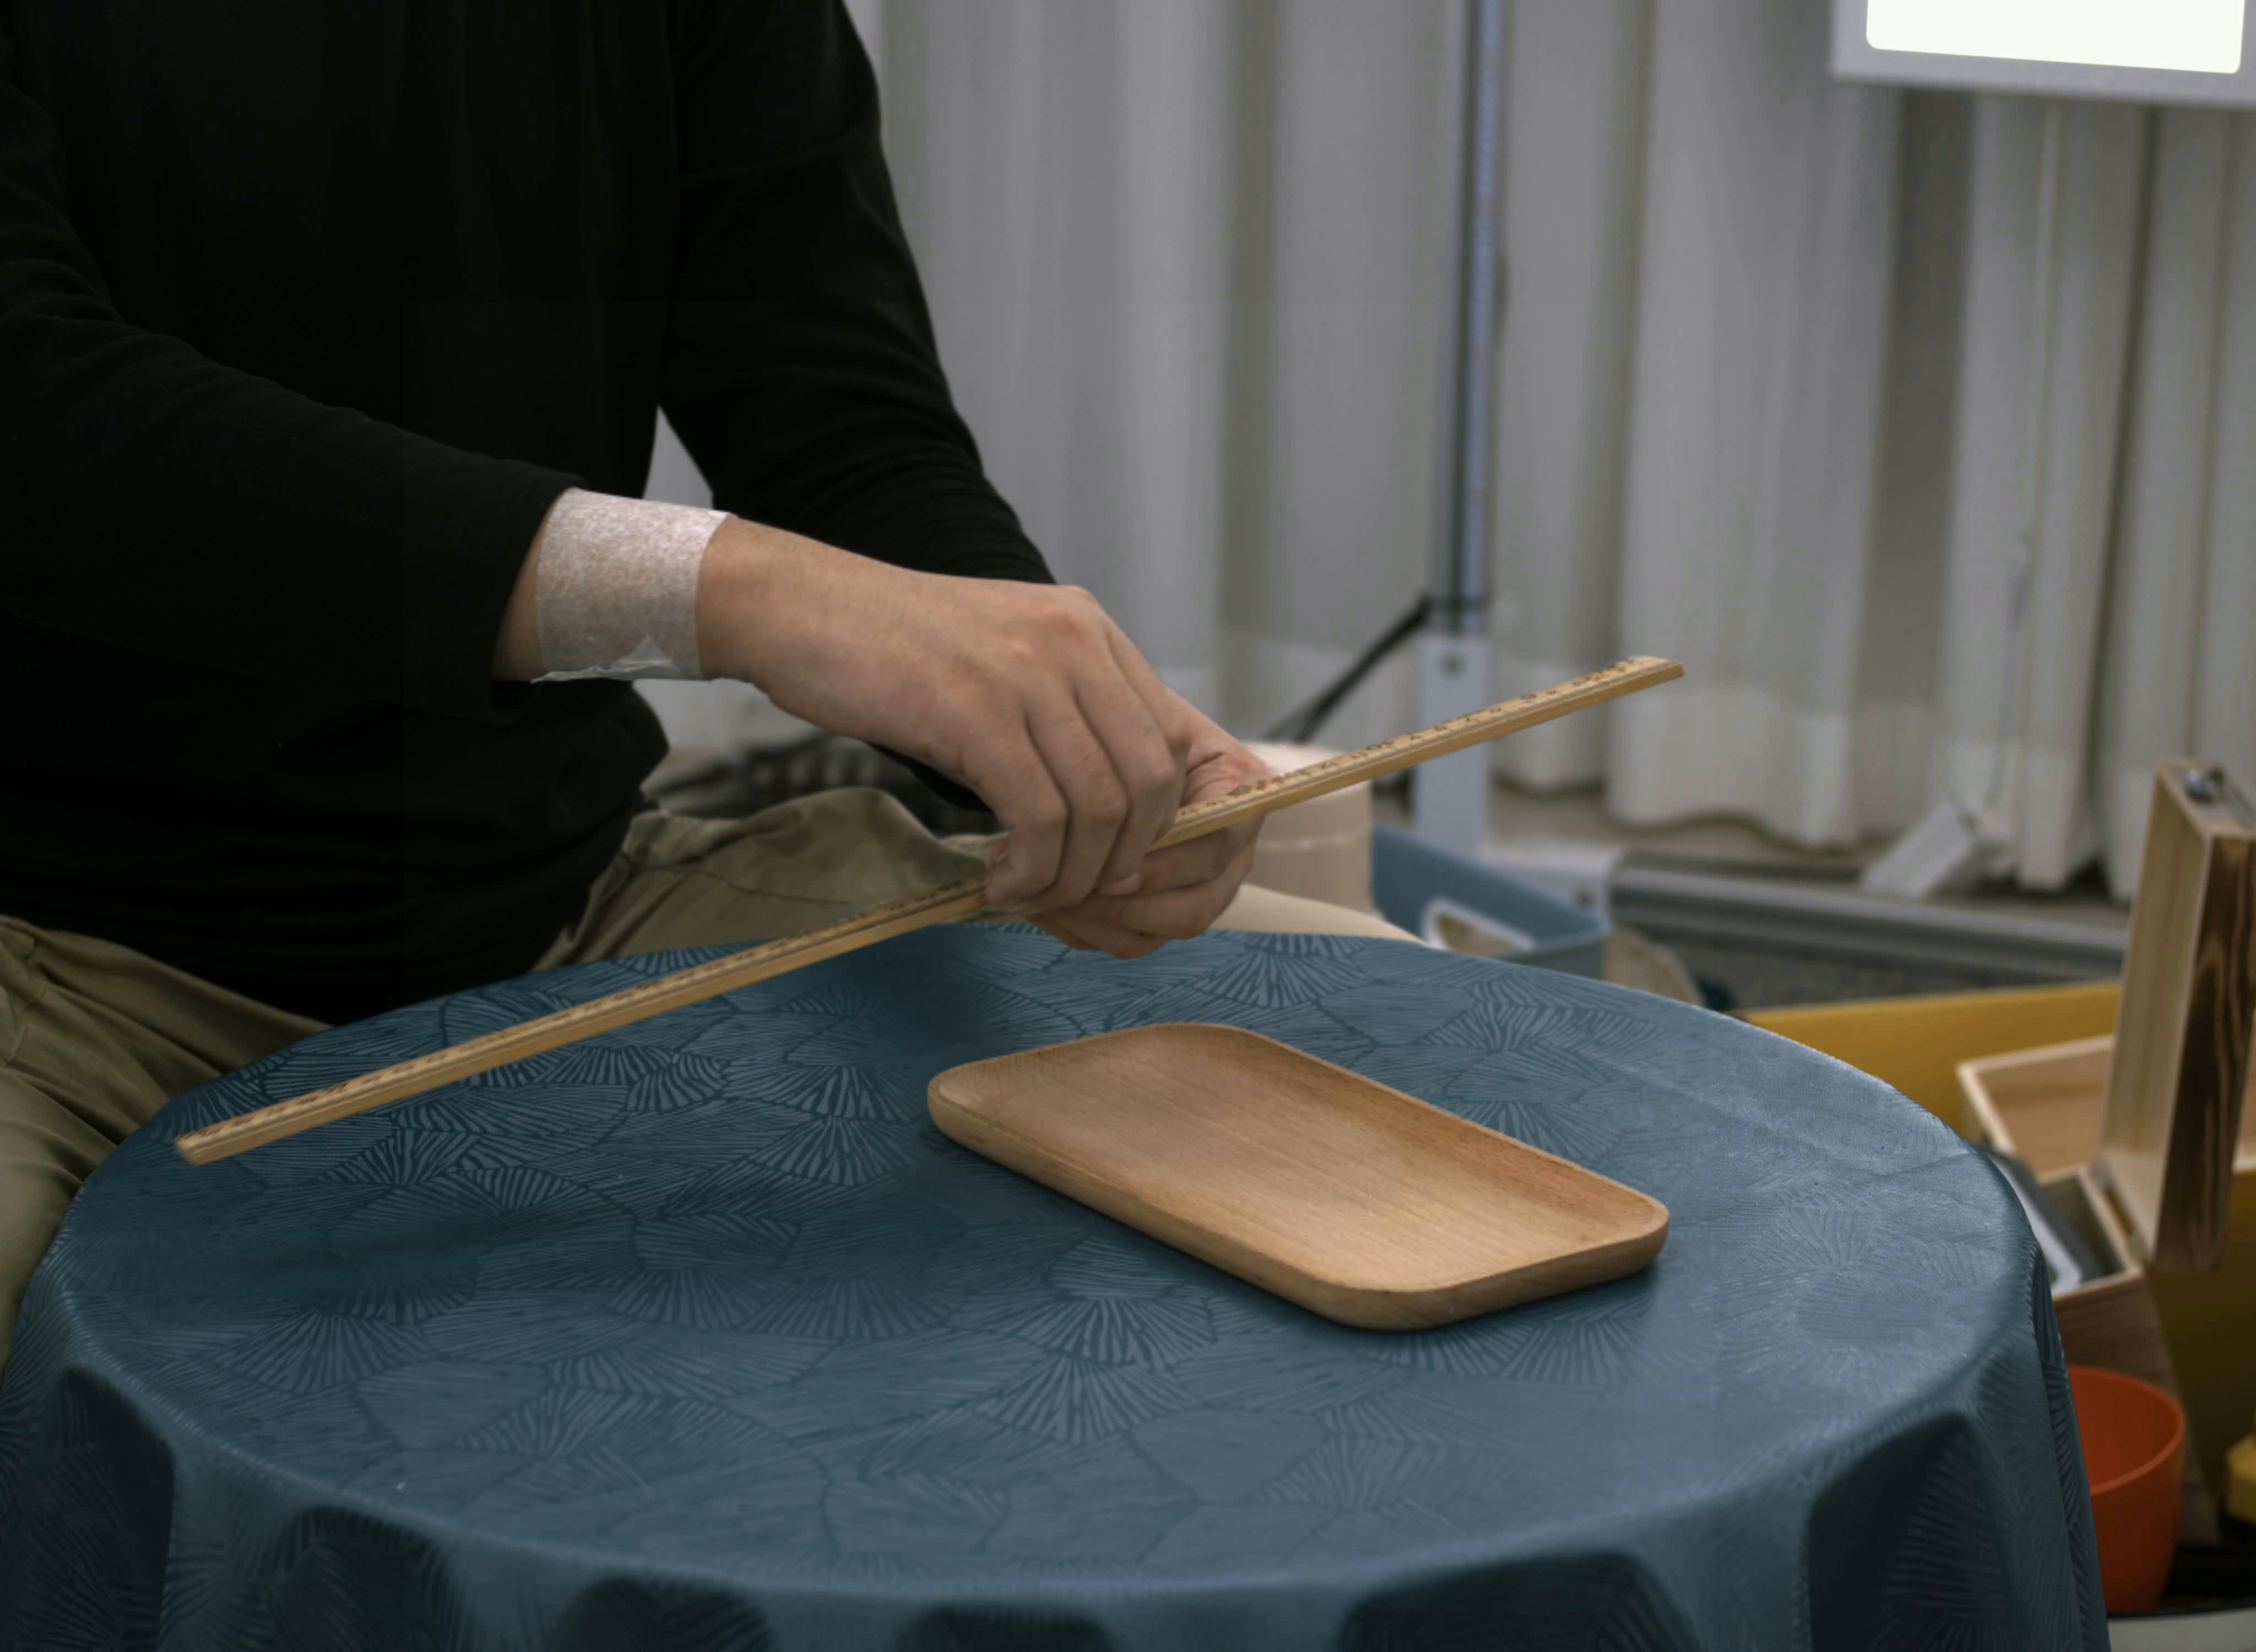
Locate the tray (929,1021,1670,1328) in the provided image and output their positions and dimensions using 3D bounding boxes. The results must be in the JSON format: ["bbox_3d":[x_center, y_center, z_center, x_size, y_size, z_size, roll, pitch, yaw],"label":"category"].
[{"bbox_3d":[0.049,0.105,1.620,0.131,0.023,0.247,-8,16,-34],"label":"tray"}]

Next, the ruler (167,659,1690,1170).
[{"bbox_3d":[-0.052,0.022,1.602,0.501,0.006,0.026,-18,11,-19],"label":"ruler"}]
